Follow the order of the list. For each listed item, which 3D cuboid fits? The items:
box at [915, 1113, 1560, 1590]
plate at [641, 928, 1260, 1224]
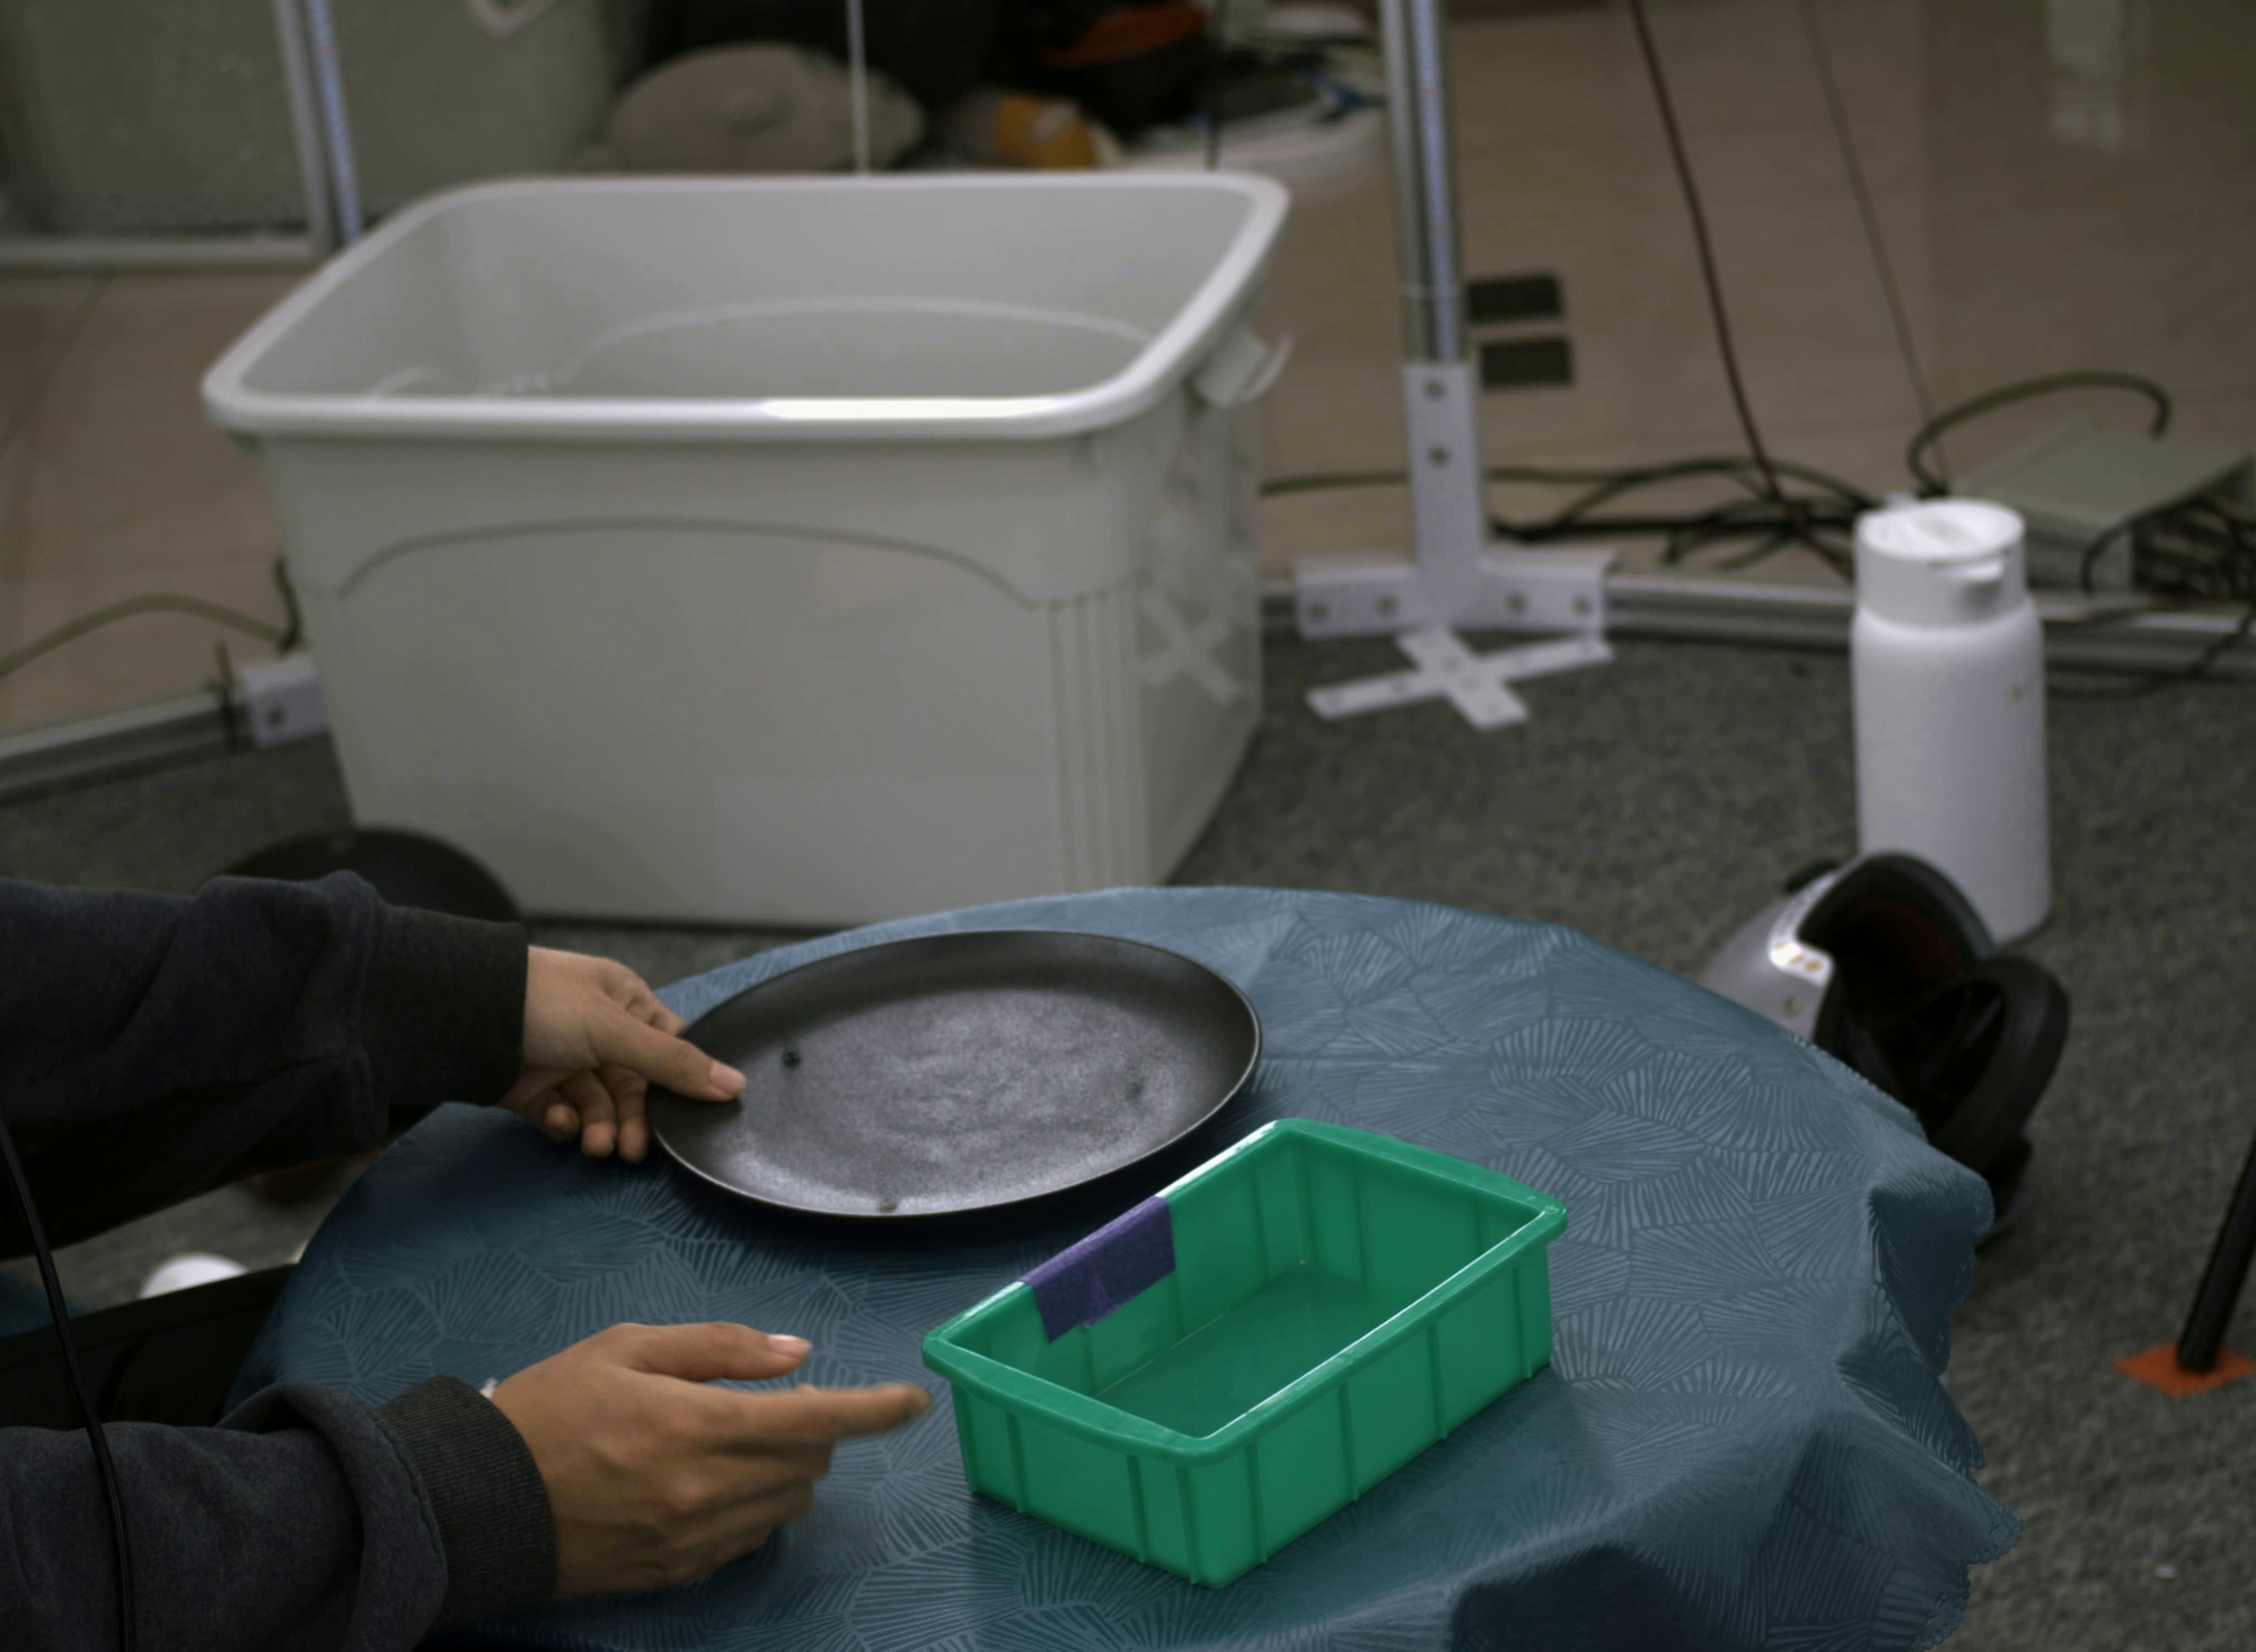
[{"bbox_3d":[0.042,0.182,1.968,0.138,0.066,0.208,14,34,40],"label":"box"},{"bbox_3d":[-0.069,0.102,2.215,0.244,0.024,0.241,-5,25,2],"label":"plate"}]
